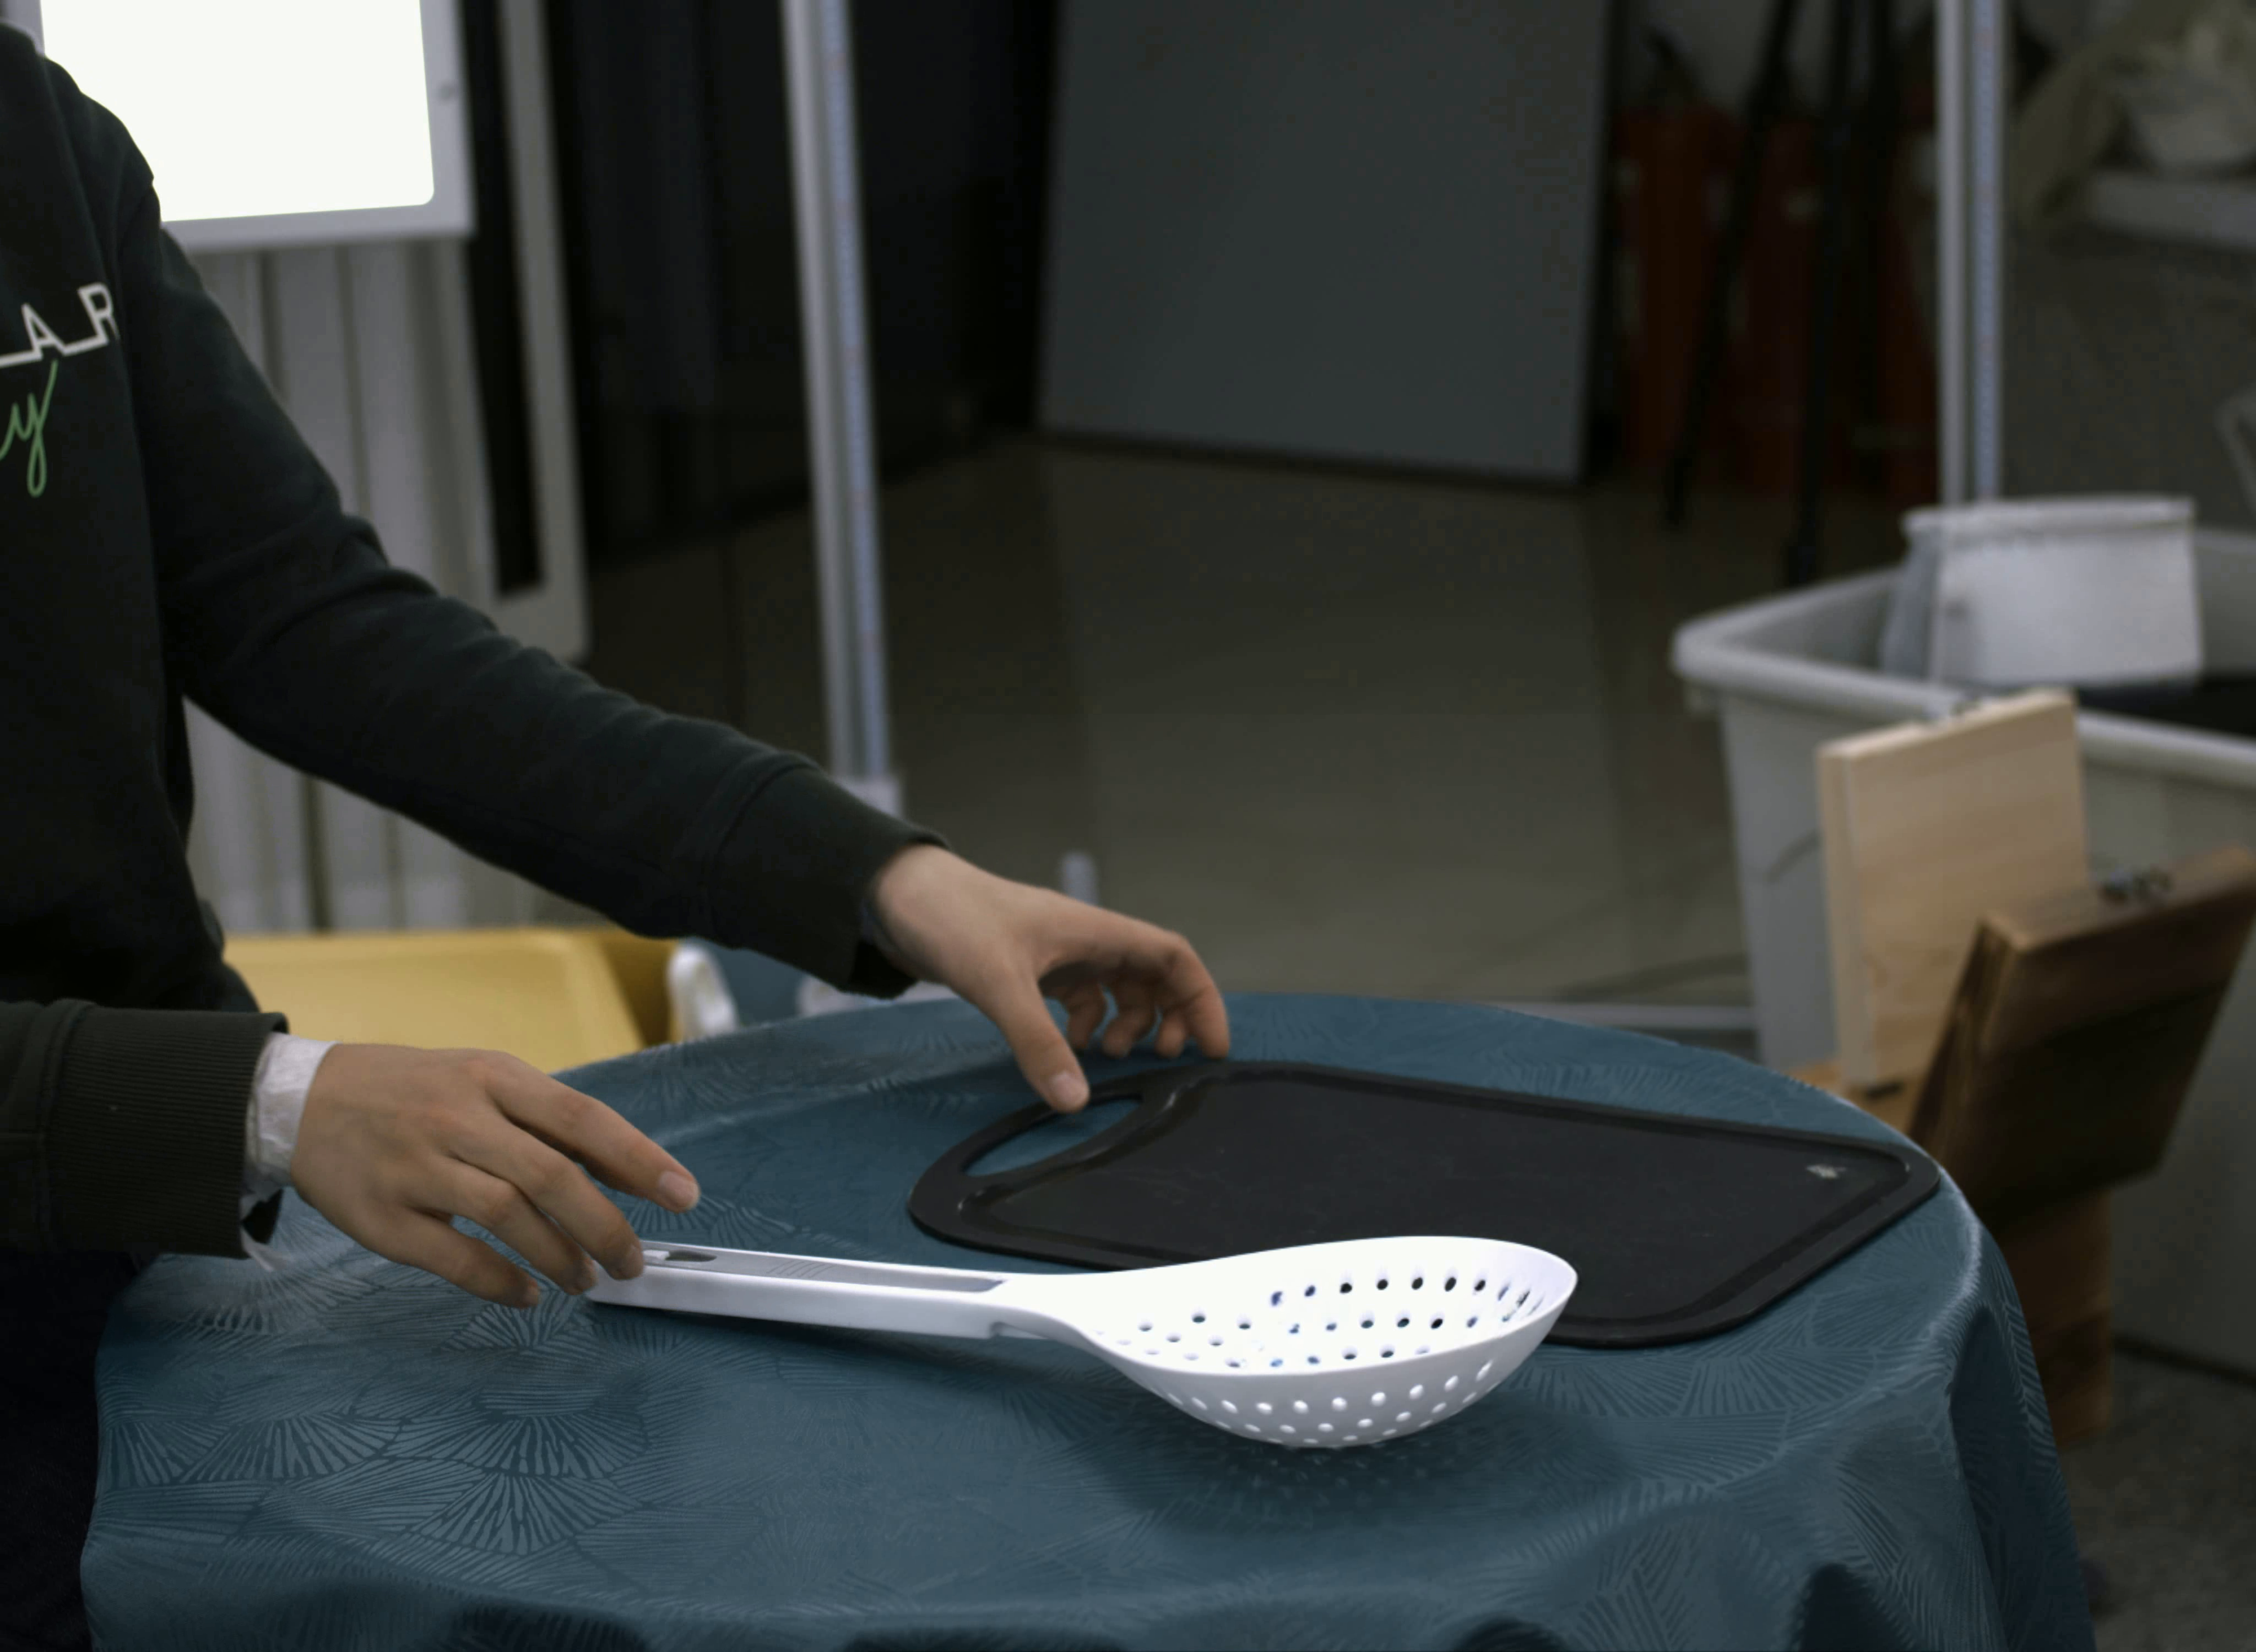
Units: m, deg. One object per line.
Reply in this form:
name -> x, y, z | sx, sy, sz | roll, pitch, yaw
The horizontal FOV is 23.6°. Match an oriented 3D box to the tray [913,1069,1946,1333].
tray -> 0.089, 0.117, 1.748 | 0.327, 0.010, 0.207 | 5, 16, 35

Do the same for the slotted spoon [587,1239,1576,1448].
slotted spoon -> -0.025, 0.143, 1.597 | 0.352, 0.046, 0.133 | 5, 14, 37
